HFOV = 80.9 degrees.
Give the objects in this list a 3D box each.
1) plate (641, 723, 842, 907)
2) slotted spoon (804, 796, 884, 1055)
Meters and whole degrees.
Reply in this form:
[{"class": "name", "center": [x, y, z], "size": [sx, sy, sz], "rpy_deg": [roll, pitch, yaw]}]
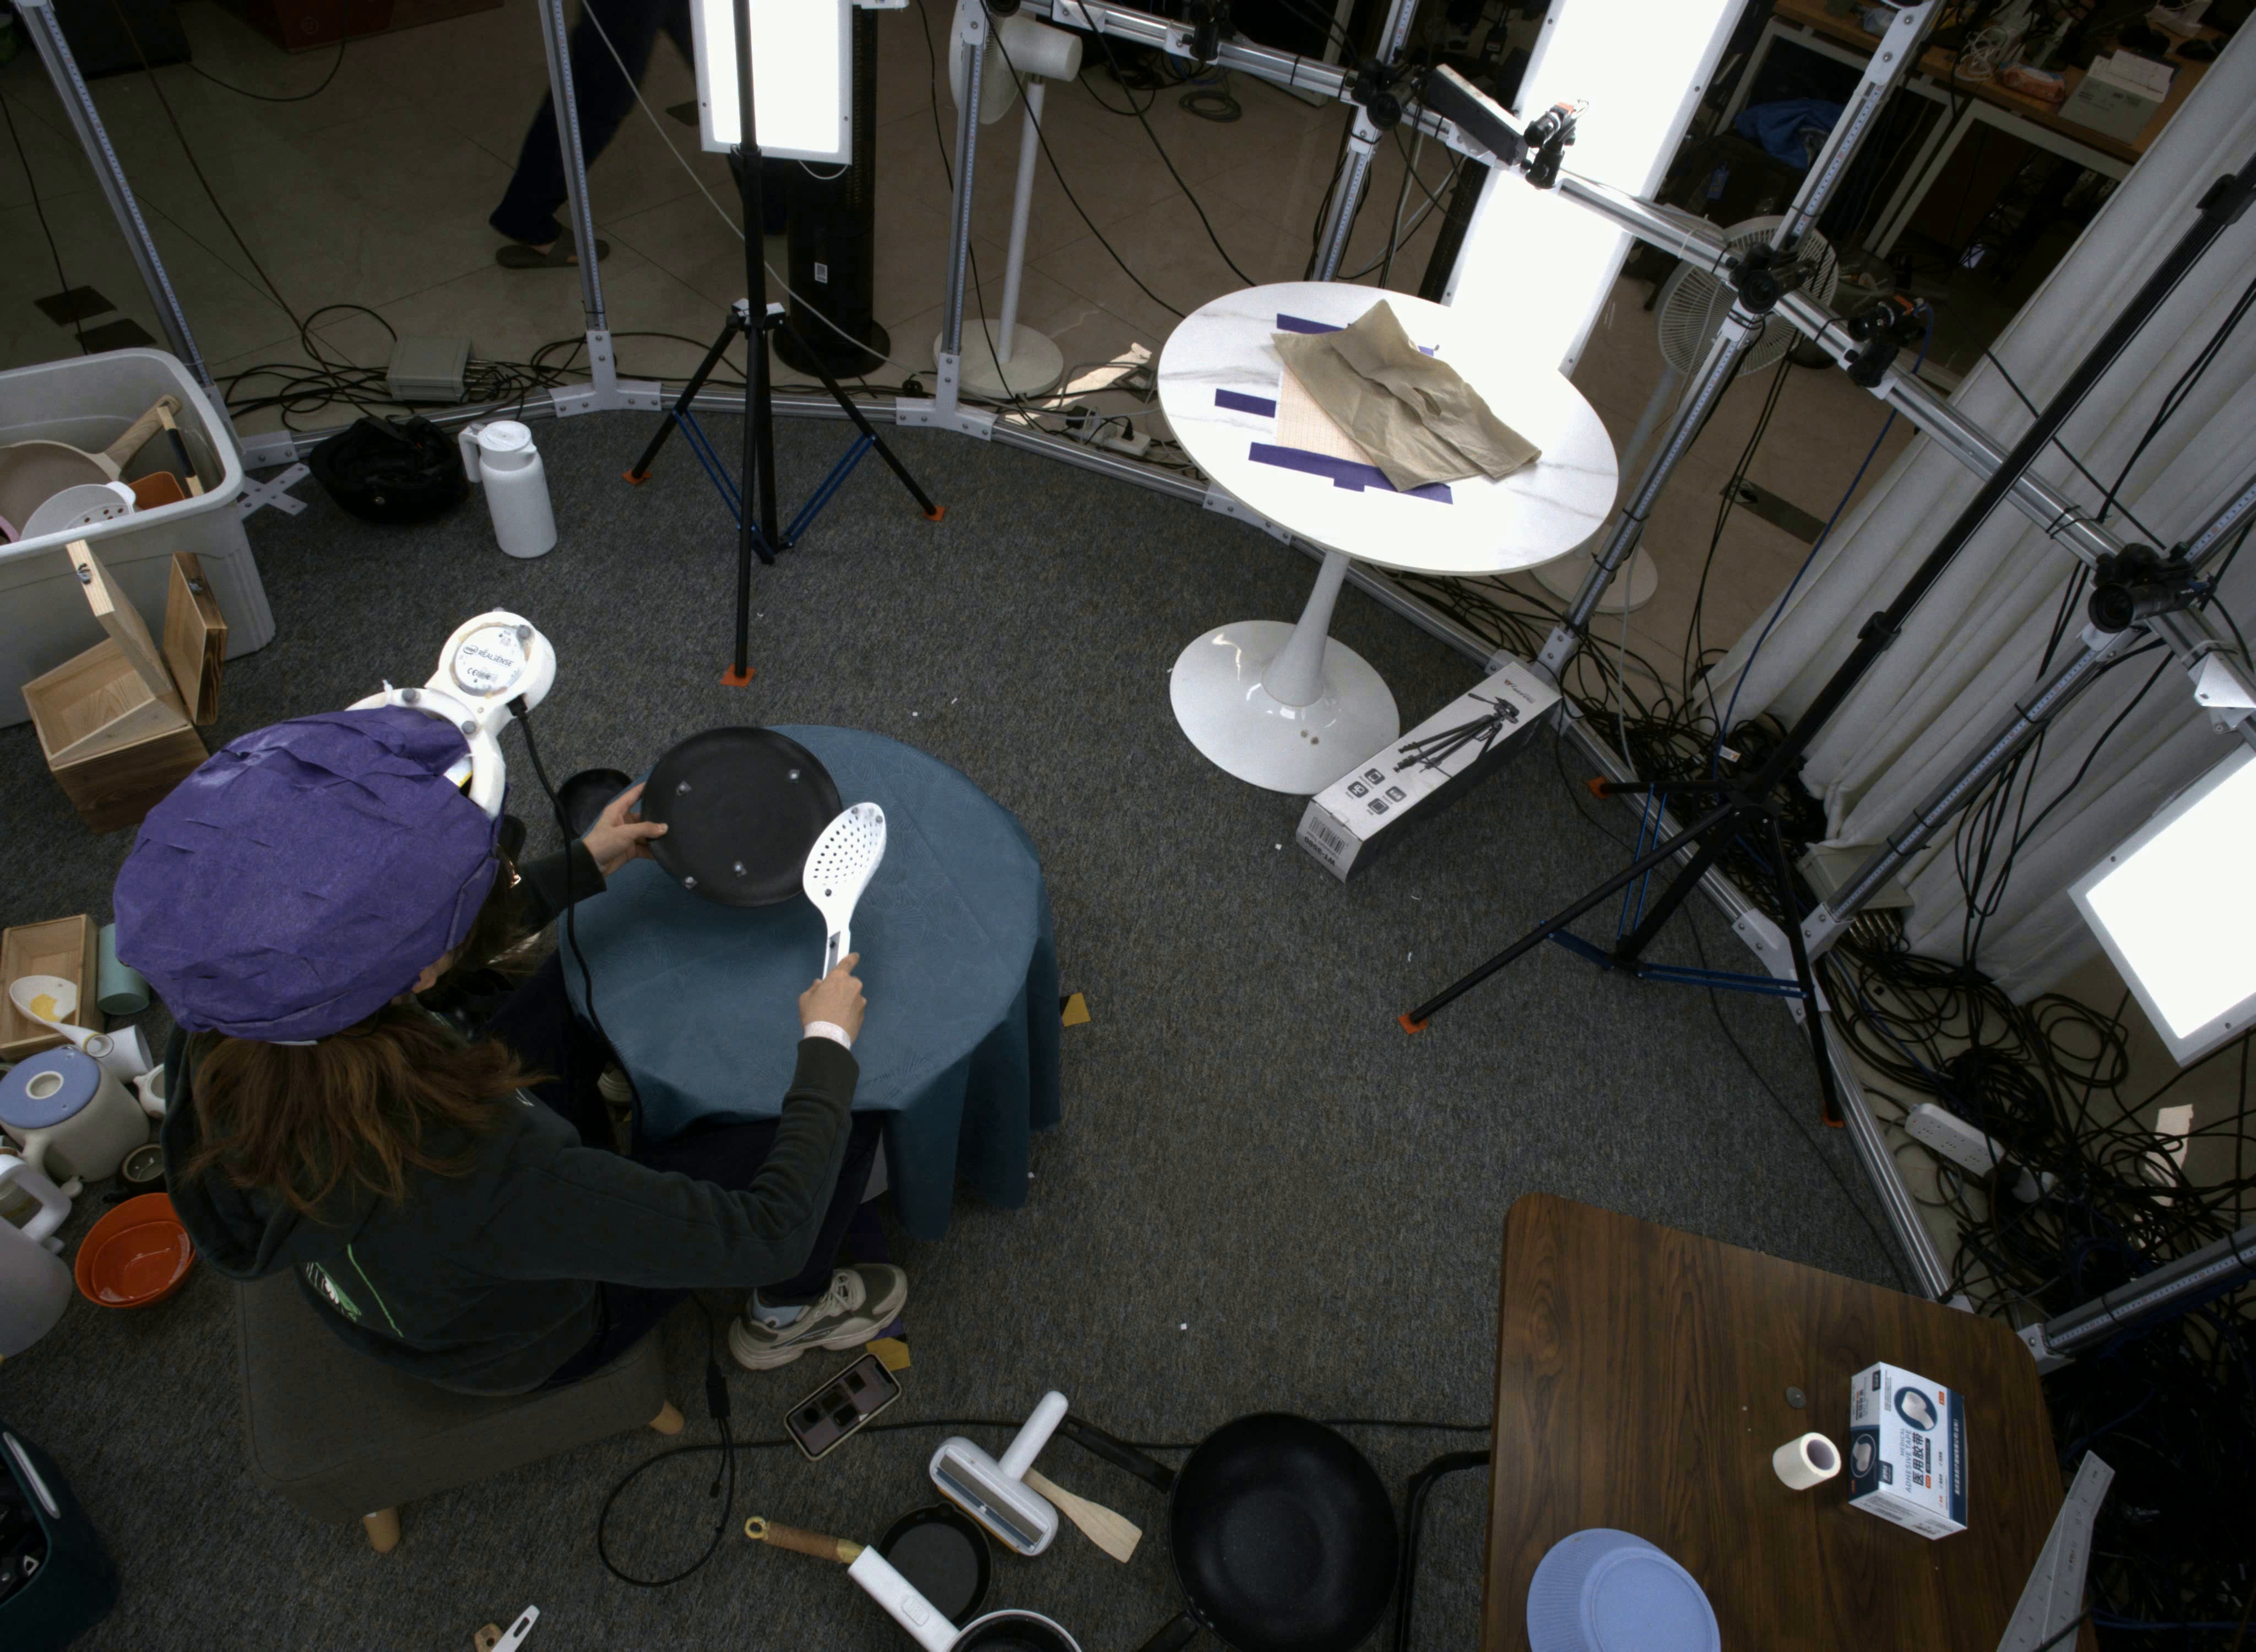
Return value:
[{"class": "plate", "center": [-0.475, -0.014, 1.592], "size": [0.247, 0.023, 0.242], "rpy_deg": [11, 64, -21]}, {"class": "slotted spoon", "center": [-0.333, 0.107, 1.495], "size": [0.047, 0.134, 0.342], "rpy_deg": [41, 32, -34]}]
